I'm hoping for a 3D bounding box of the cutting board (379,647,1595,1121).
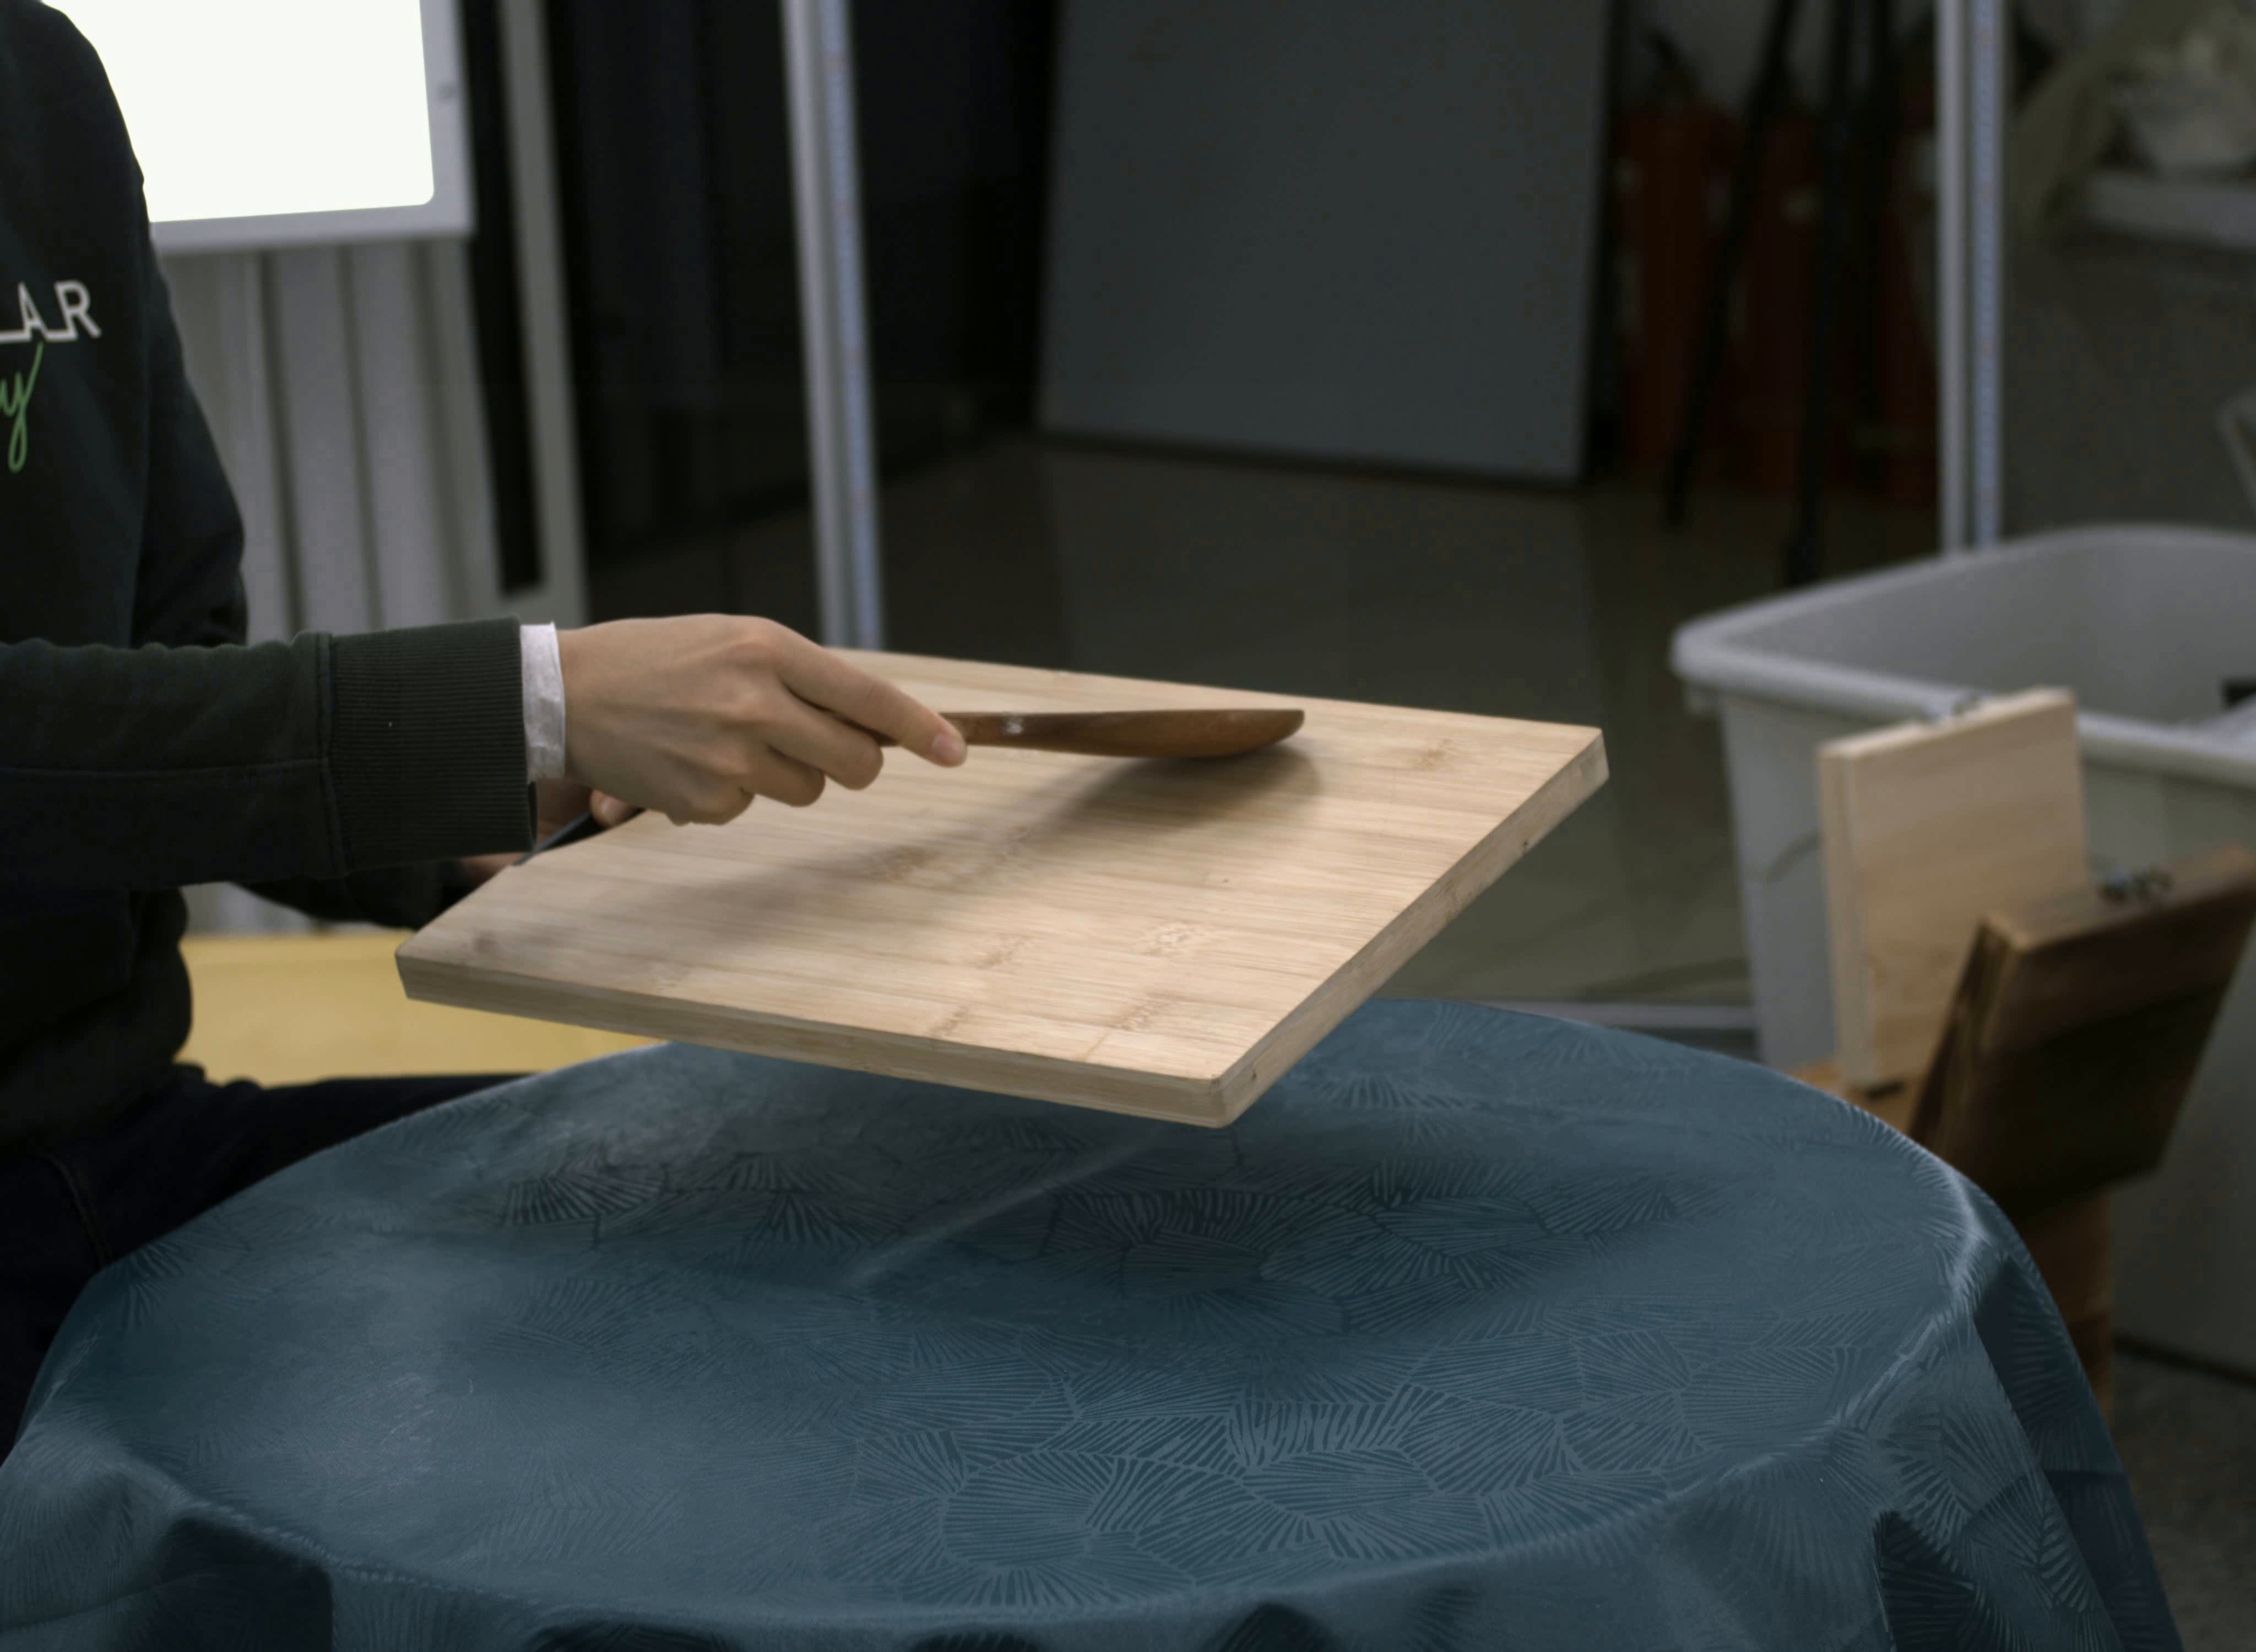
[{"bbox_3d":[-0.048,0.013,1.795,0.351,0.024,0.247,6,30,36],"label":"cutting board"}]

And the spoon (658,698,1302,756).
[{"bbox_3d":[-0.048,-0.032,1.780,0.212,0.017,0.076,1,1,-7],"label":"spoon"}]
